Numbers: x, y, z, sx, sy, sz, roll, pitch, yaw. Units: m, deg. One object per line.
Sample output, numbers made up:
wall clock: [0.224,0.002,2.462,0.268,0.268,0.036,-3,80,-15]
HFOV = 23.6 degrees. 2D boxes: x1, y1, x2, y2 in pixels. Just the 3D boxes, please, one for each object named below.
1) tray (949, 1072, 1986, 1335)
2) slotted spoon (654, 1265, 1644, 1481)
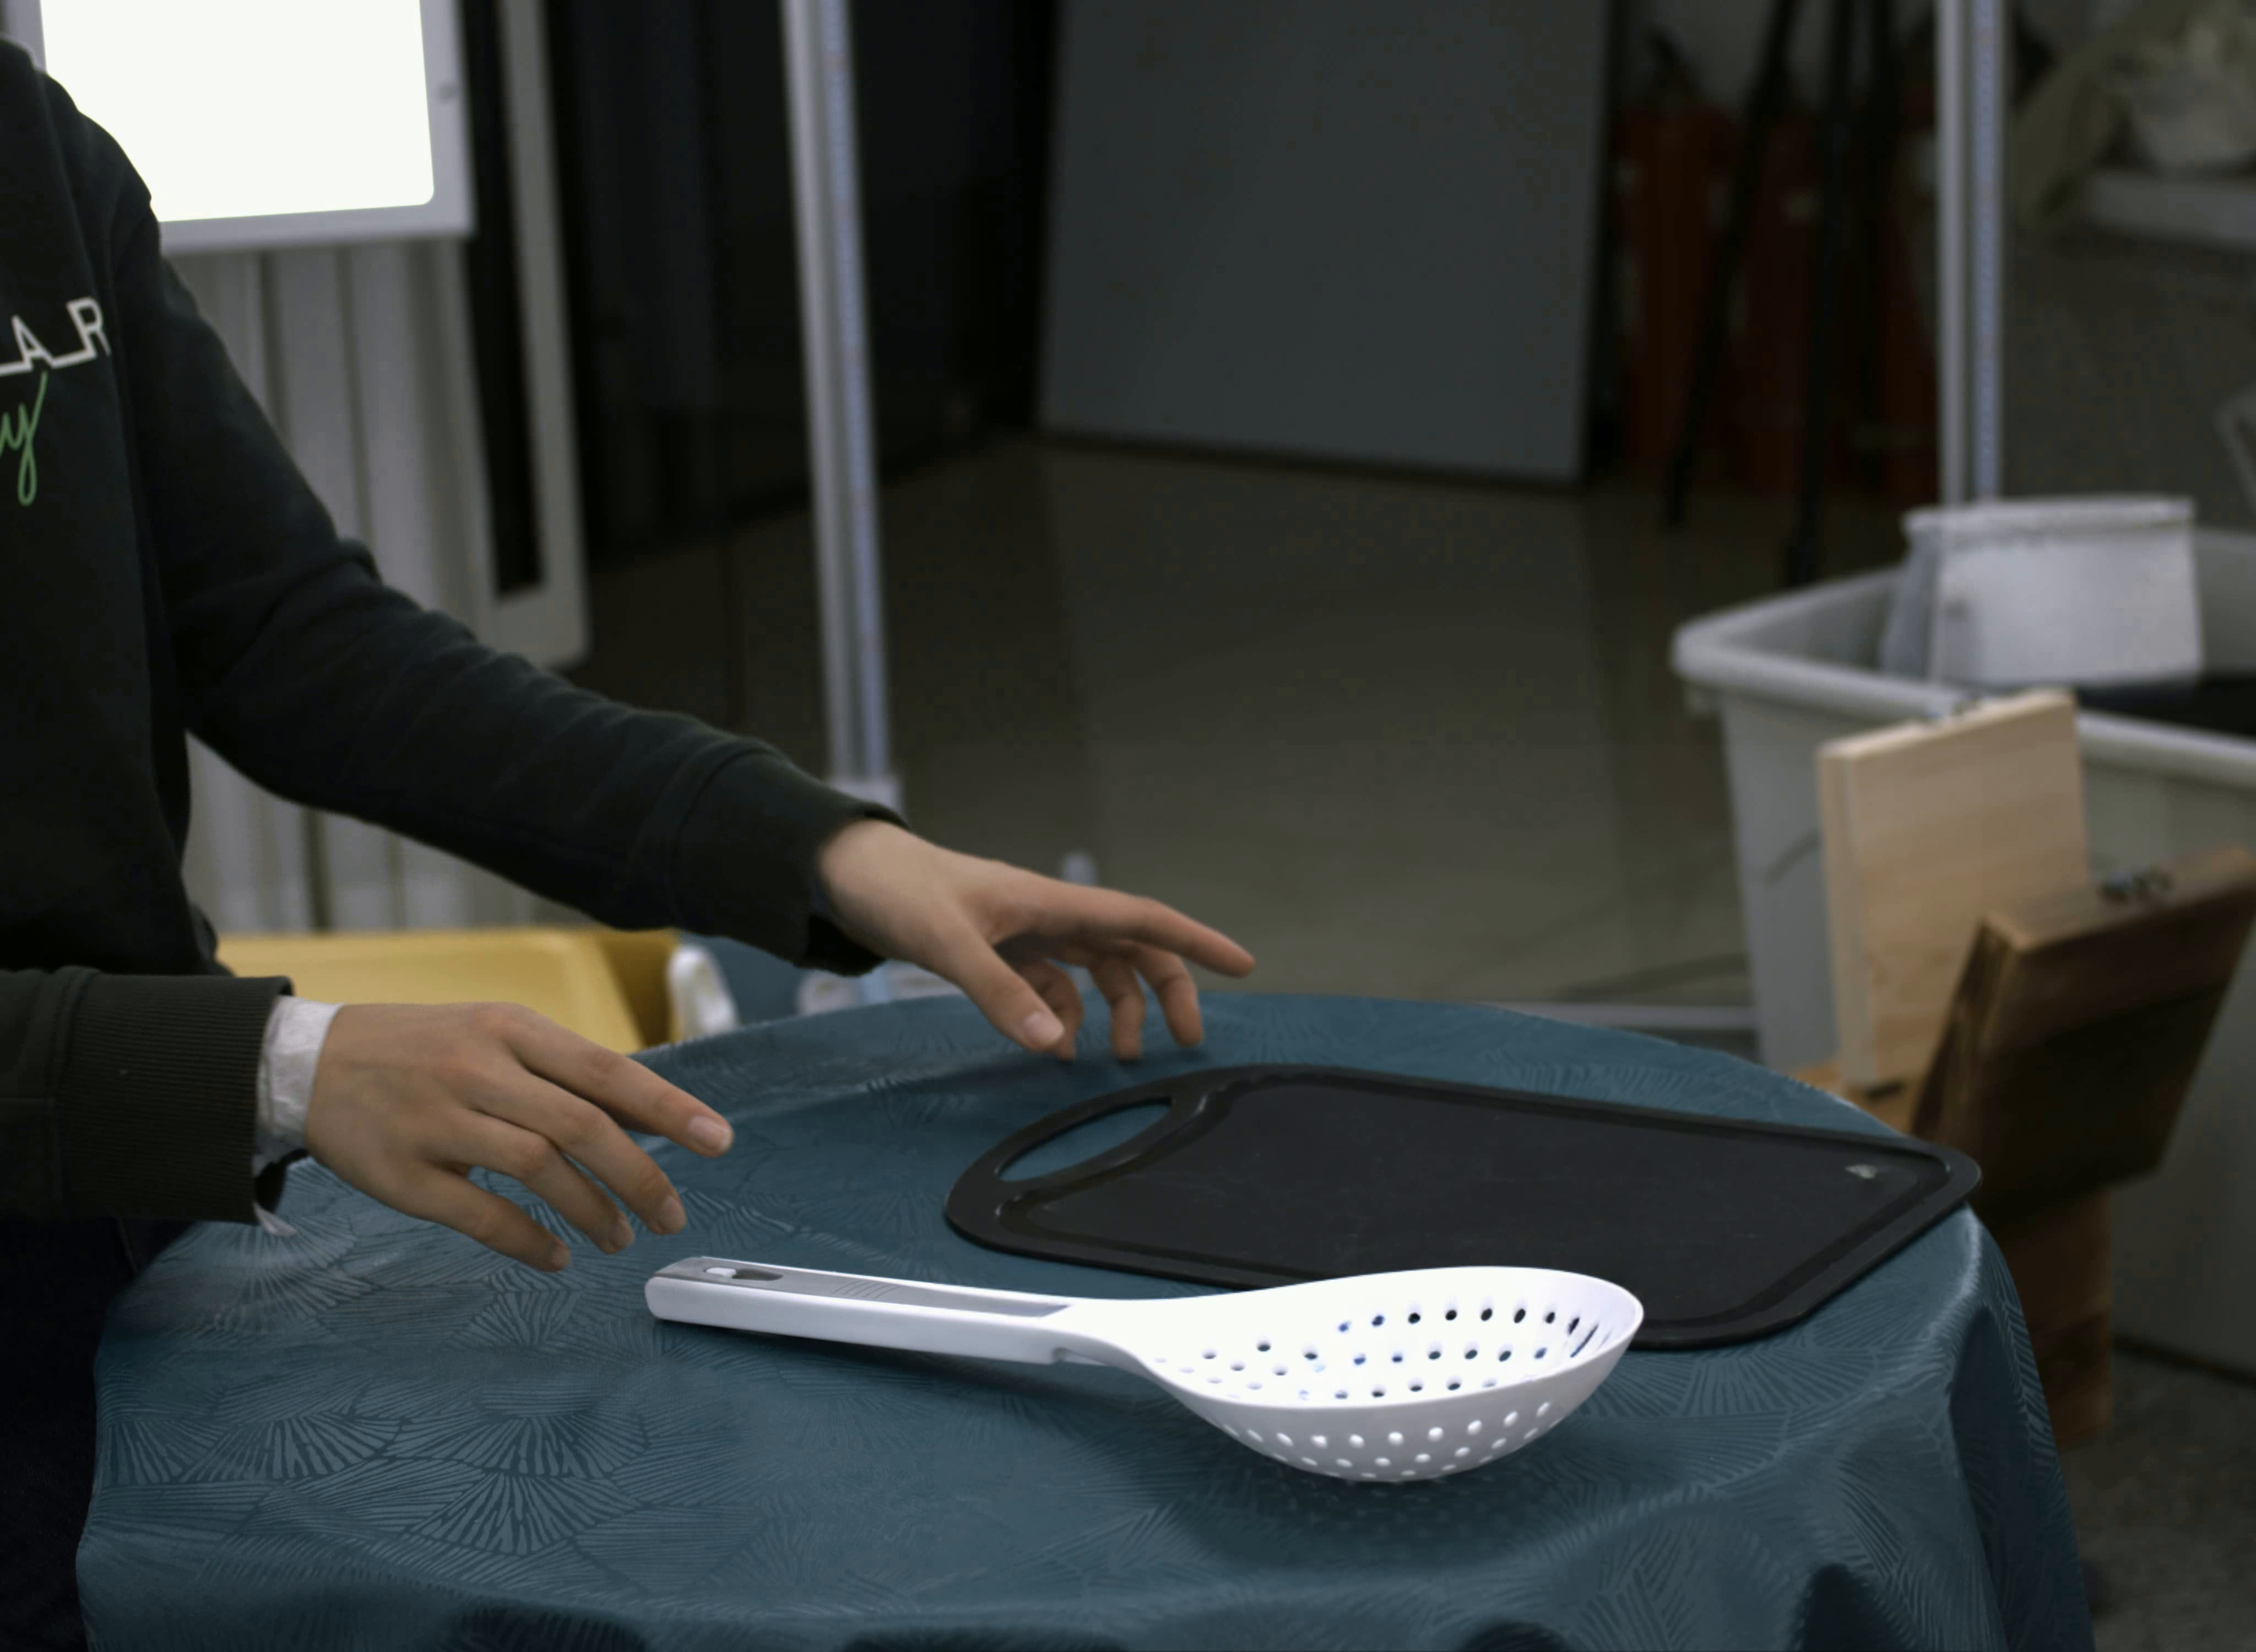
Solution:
tray: [0.101,0.117,1.742,0.327,0.010,0.207,5,16,34]
slotted spoon: [-0.006,0.147,1.571,0.352,0.046,0.133,6,15,39]
